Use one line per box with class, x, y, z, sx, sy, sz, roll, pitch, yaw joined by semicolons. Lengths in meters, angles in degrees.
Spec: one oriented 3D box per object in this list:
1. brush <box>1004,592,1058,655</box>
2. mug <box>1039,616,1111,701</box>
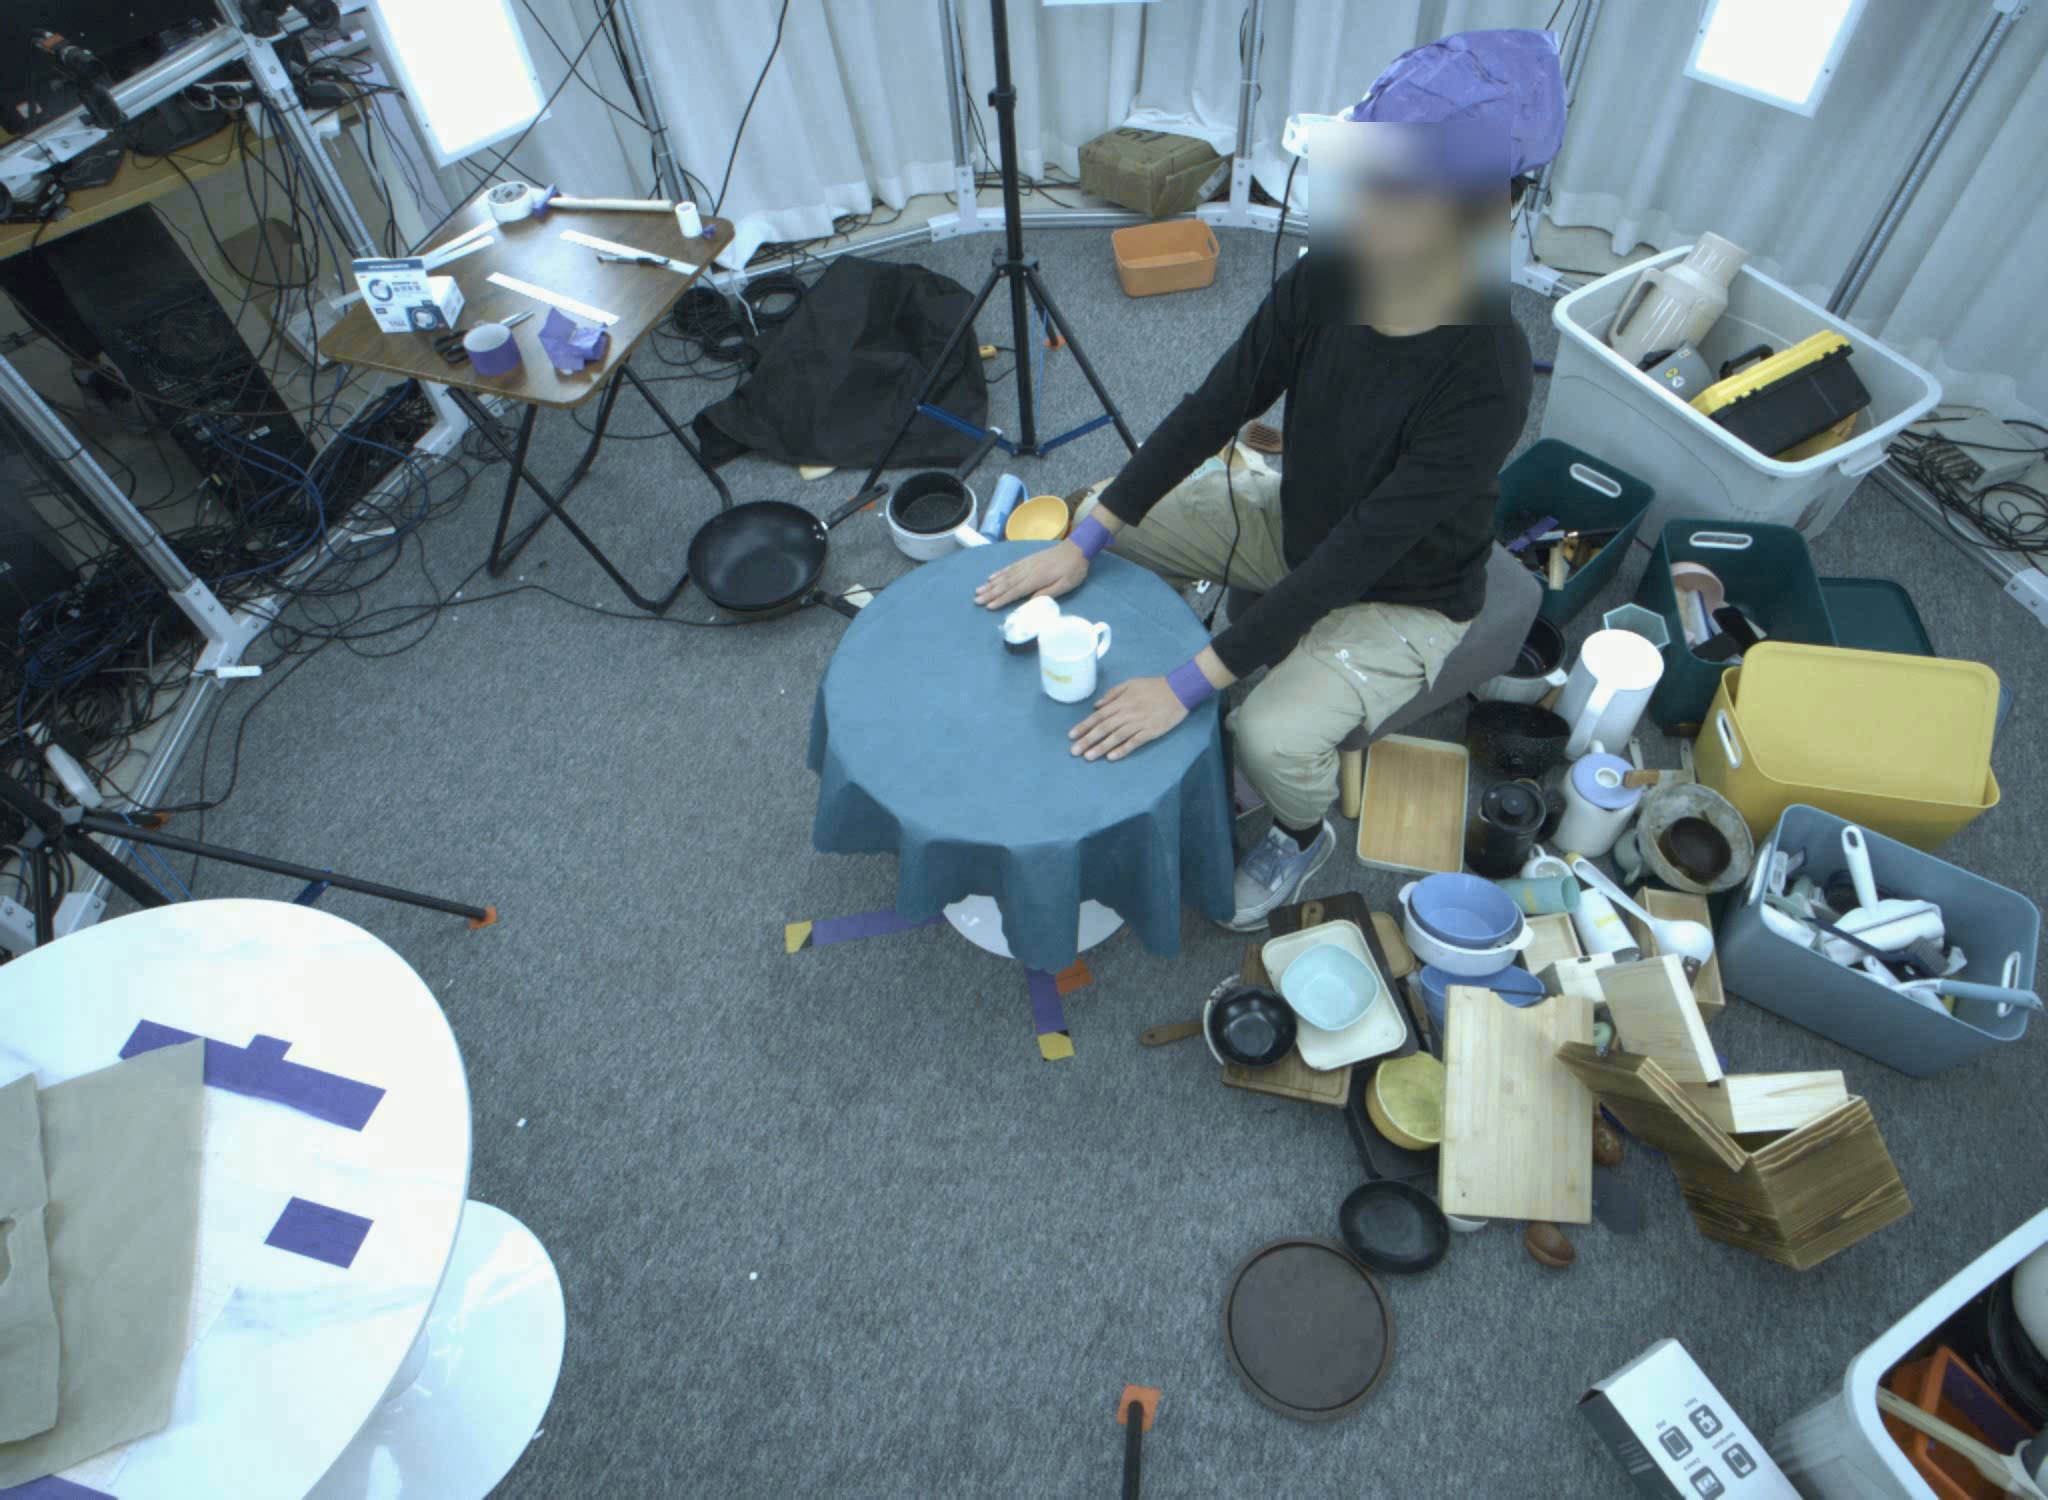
brush;0.010;-0.202;1.887;0.100;0.073;0.049;-41;66;-19
mug;0.079;-0.142;1.823;0.119;0.103;0.083;-35;59;-20
